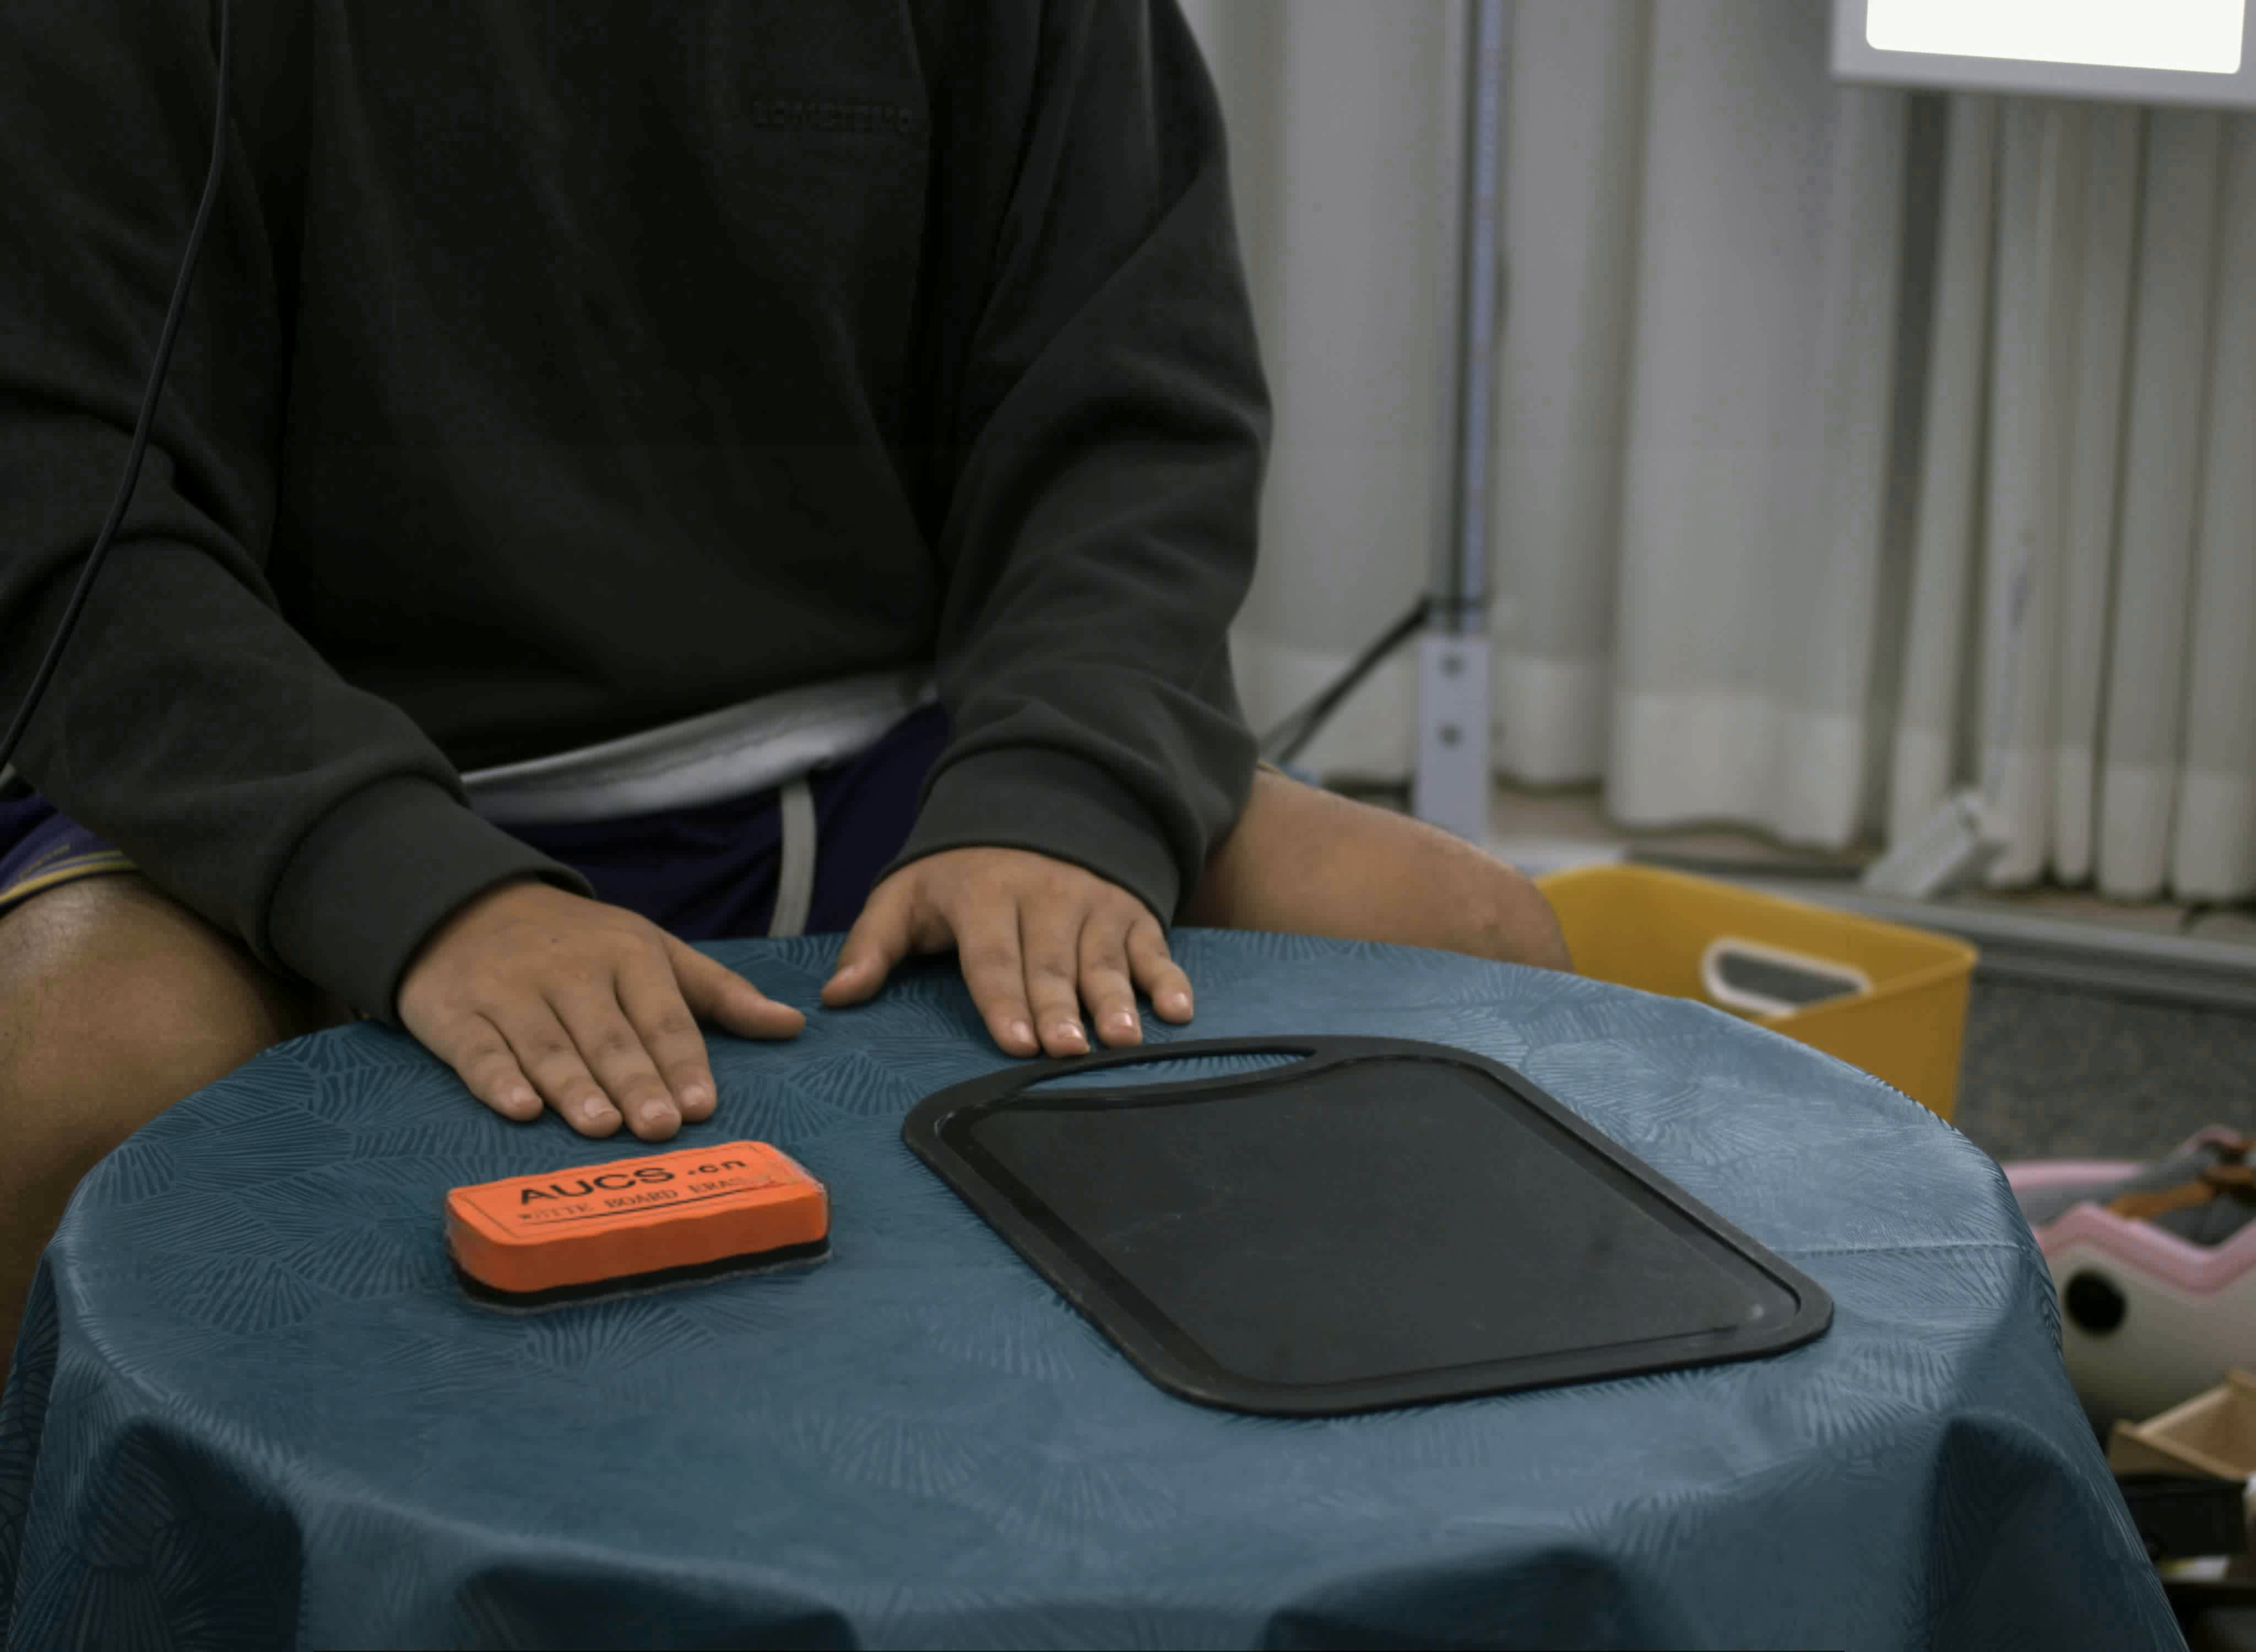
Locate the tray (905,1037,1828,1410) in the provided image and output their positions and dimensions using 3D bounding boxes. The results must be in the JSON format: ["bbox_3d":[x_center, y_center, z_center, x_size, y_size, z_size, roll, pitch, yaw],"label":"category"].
[{"bbox_3d":[0.061,0.113,1.609,0.211,0.010,0.322,-5,16,-20],"label":"tray"}]

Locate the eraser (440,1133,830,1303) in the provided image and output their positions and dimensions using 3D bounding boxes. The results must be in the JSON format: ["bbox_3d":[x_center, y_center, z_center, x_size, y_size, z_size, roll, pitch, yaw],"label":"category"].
[{"bbox_3d":[-0.145,0.115,1.553,0.108,0.023,0.058,-7,18,-29],"label":"eraser"}]
